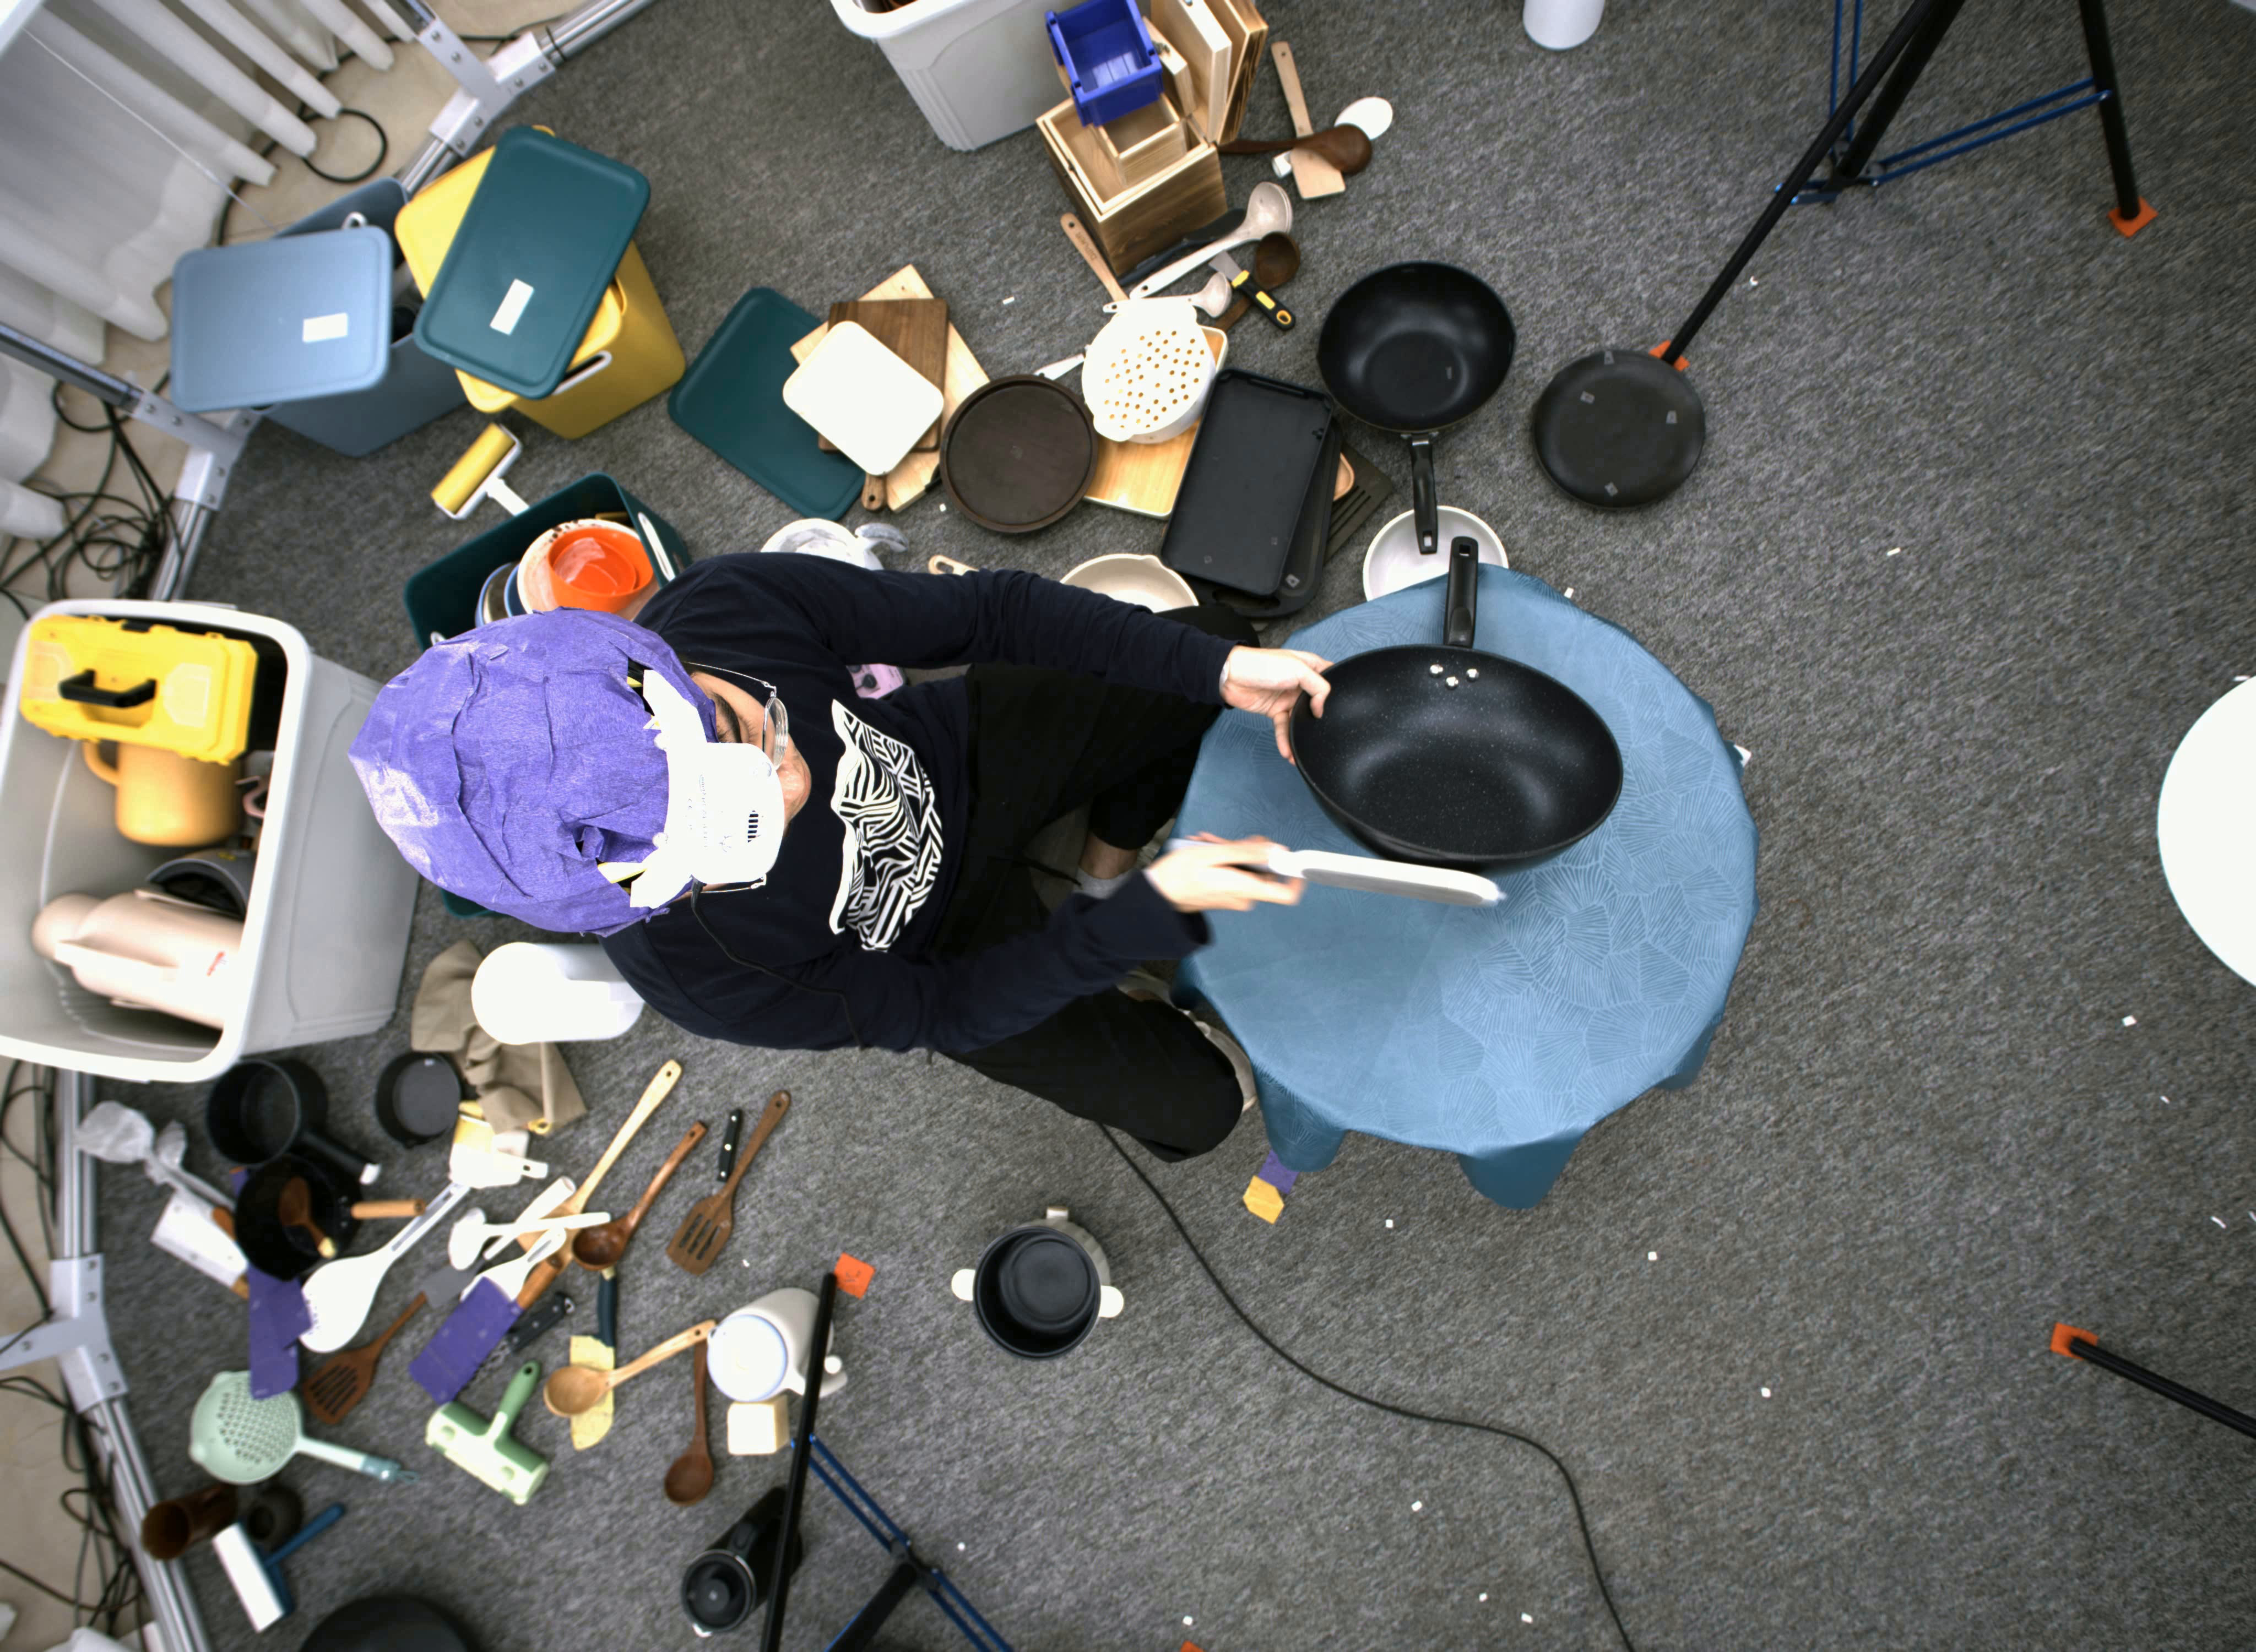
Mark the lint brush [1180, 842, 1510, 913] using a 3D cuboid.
[{"bbox_3d":[0.190,0.044,1.248,0.310,0.060,0.021,8,79,24],"label":"lint brush"}]

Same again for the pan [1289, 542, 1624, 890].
[{"bbox_3d":[0.317,-0.109,1.346,0.311,0.114,0.463,9,46,6],"label":"pan"}]
